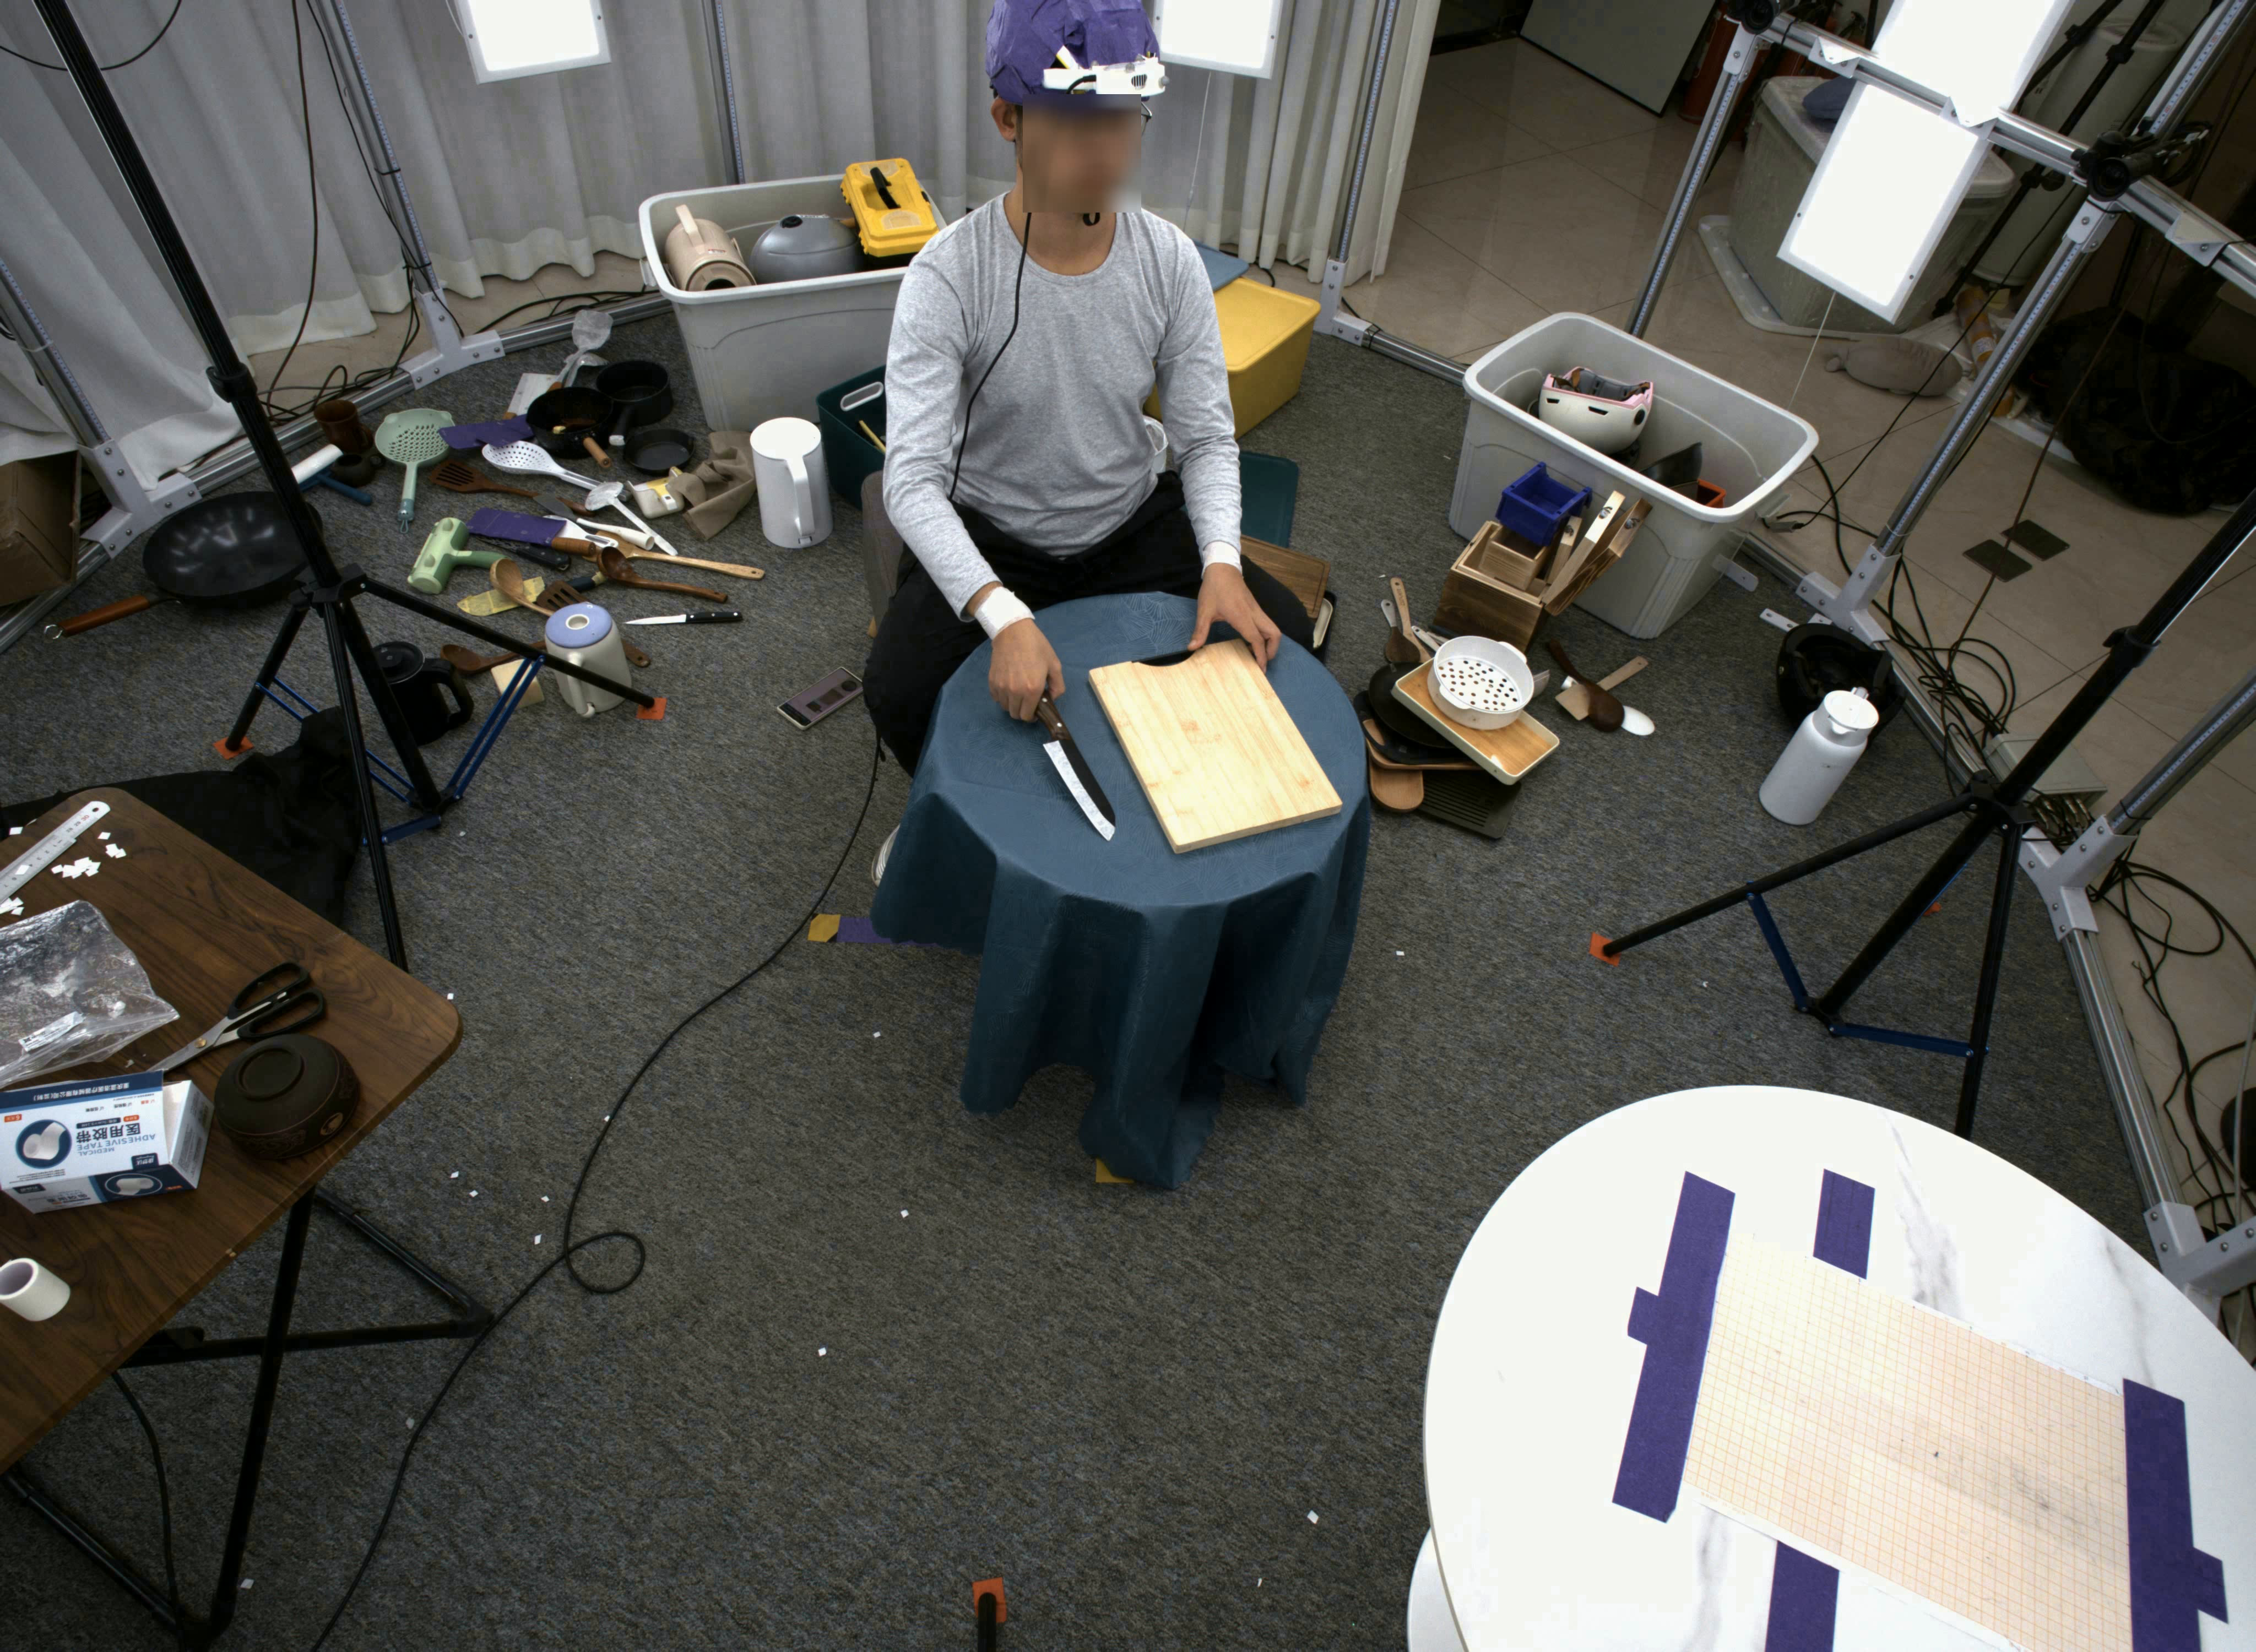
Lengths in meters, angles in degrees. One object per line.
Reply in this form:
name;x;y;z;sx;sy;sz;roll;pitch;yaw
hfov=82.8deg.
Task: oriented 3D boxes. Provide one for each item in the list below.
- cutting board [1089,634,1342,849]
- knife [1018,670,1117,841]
cutting board;0.113;-0.124;1.773;0.251;0.023;0.357;-14;51;-16
knife;-0.082;-0.097;1.716;0.050;0.019;0.295;-14;60;-25
